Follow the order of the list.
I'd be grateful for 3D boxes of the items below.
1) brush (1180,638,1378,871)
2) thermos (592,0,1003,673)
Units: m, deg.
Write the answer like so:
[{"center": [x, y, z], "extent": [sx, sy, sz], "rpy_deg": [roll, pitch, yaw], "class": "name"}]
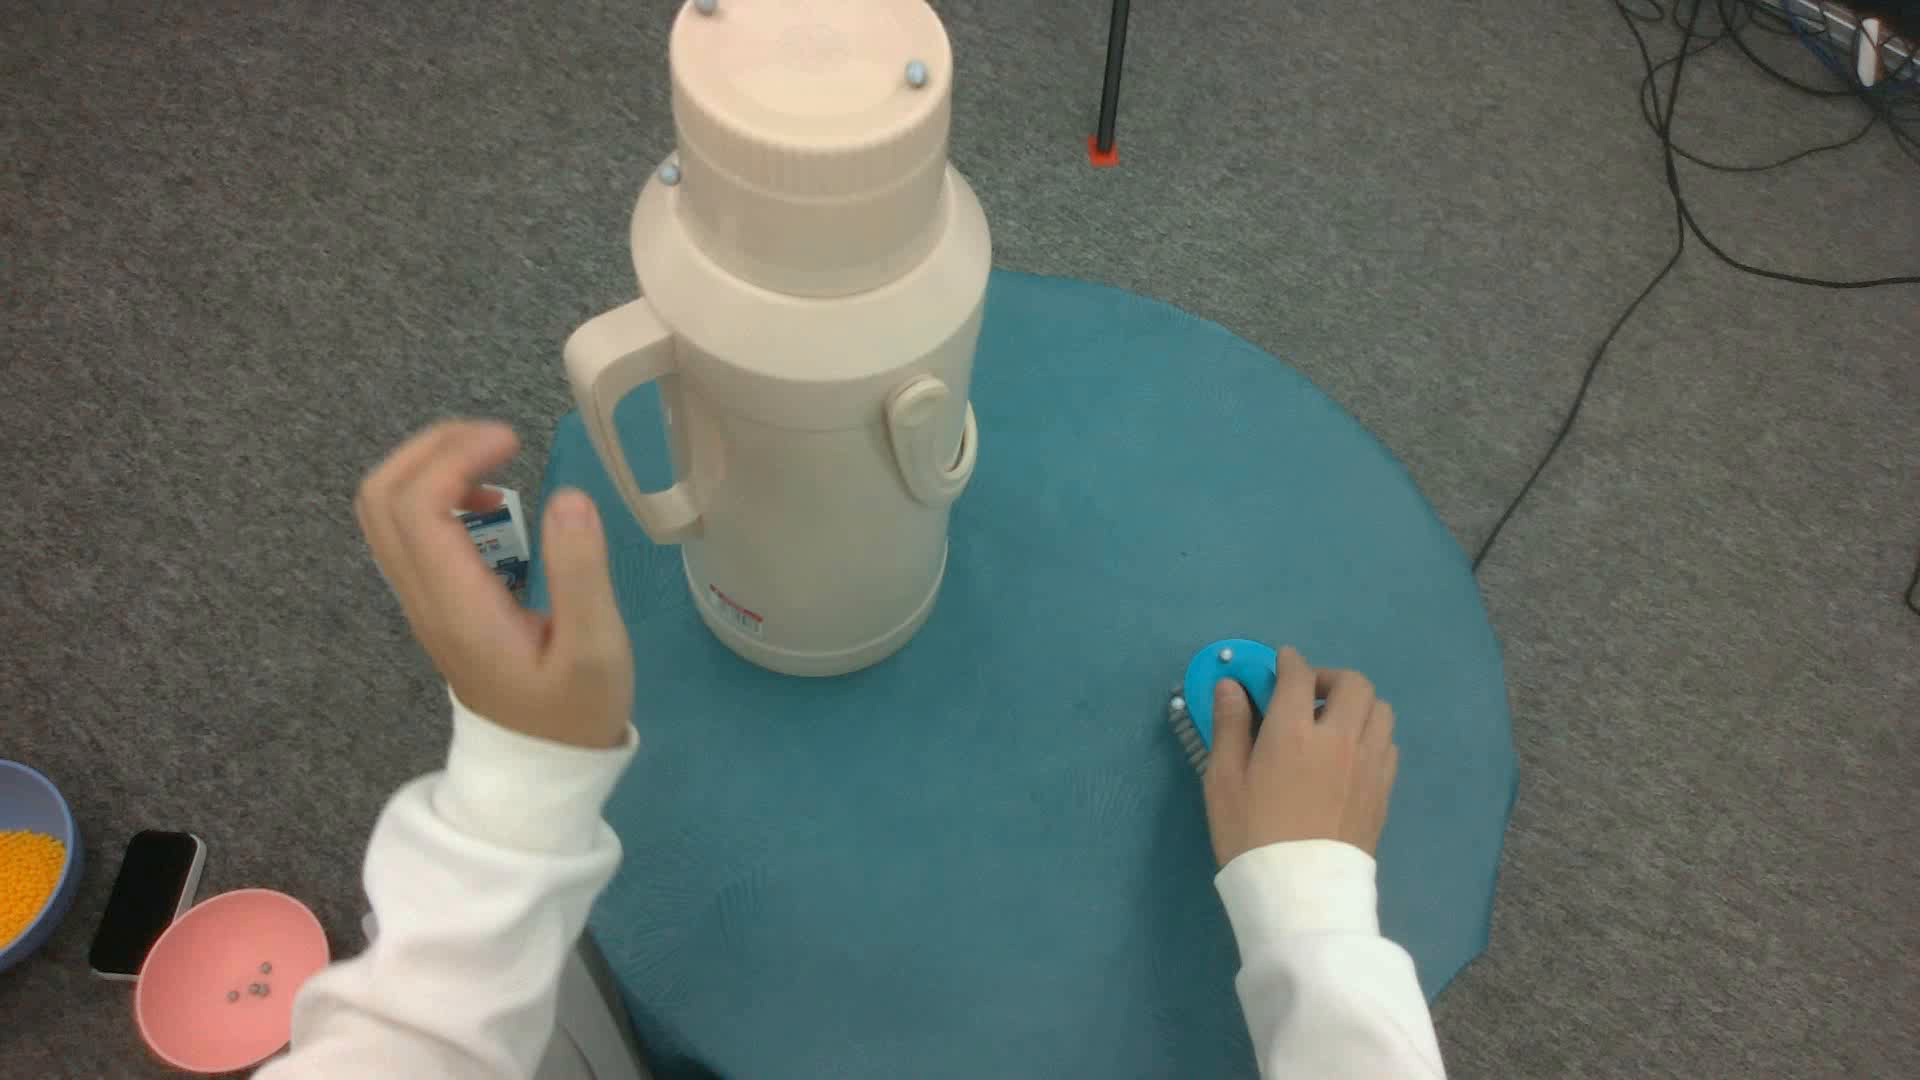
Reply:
[{"center": [0.190, 0.115, 0.798], "extent": [0.084, 0.063, 0.142], "rpy_deg": [-14, 62, -18], "class": "brush"}, {"center": [-0.077, -0.078, 0.699], "extent": [0.207, 0.404, 0.175], "rpy_deg": [-31, 68, -20], "class": "thermos"}]
